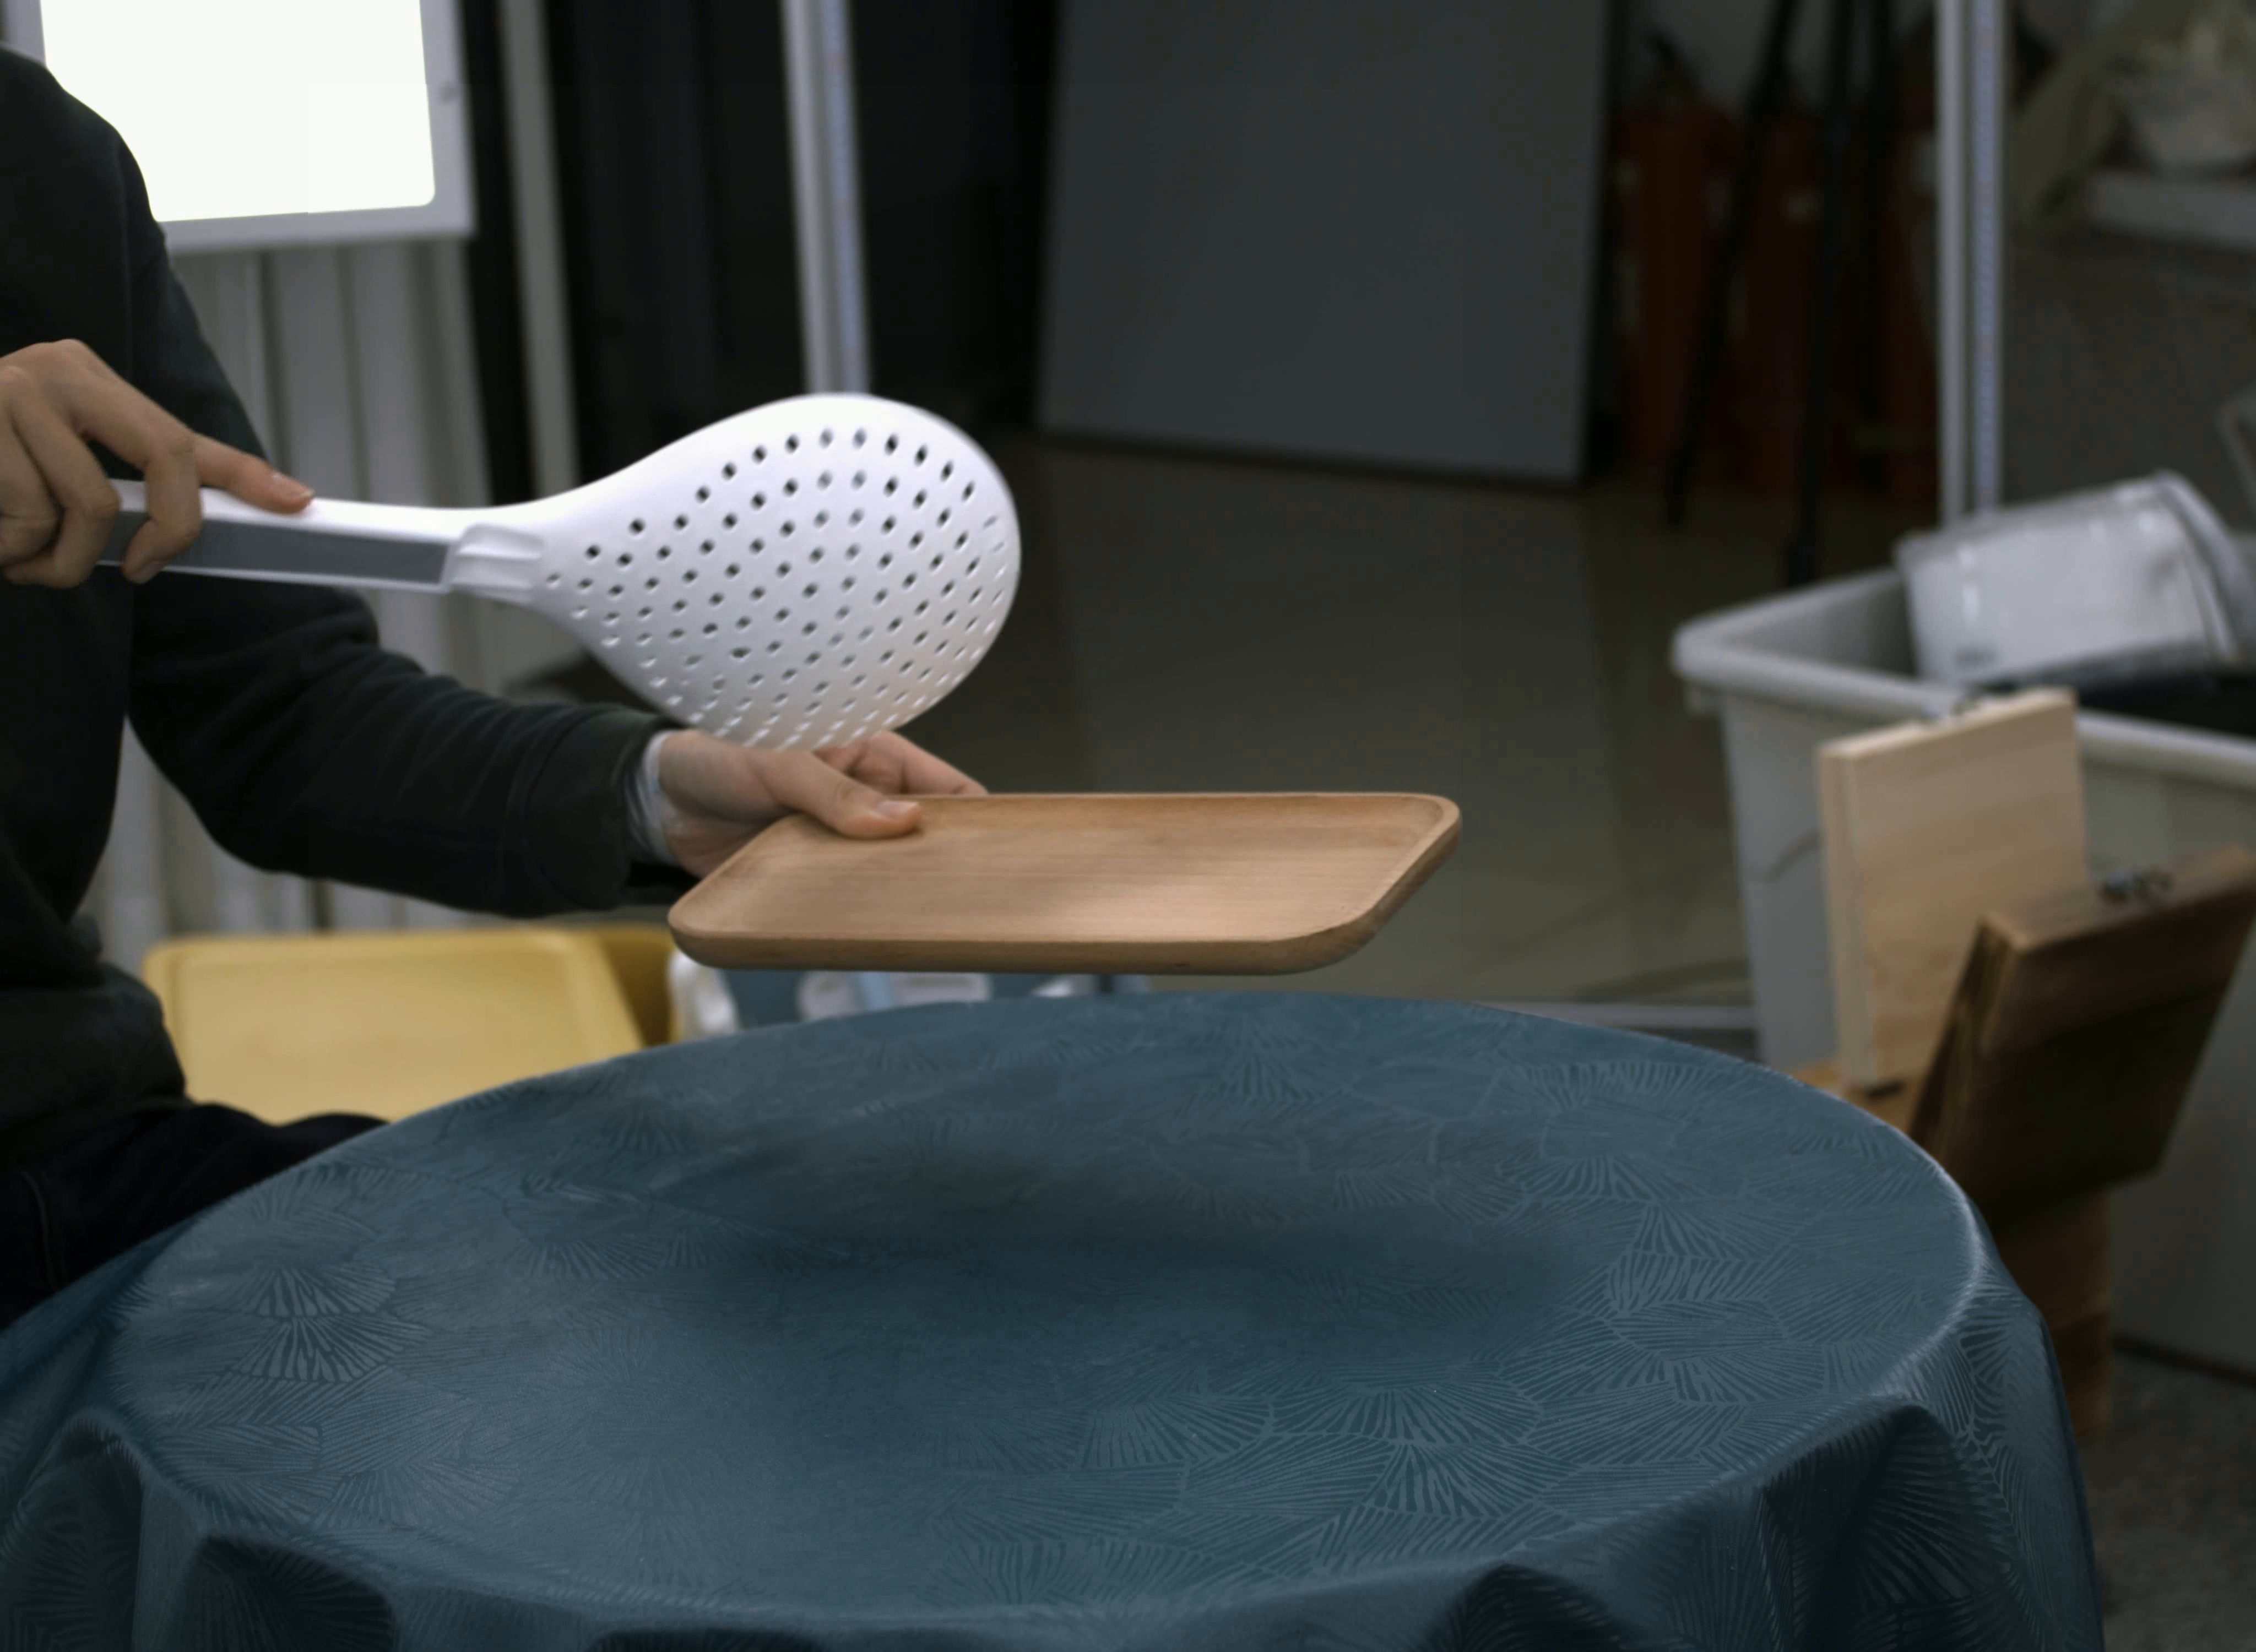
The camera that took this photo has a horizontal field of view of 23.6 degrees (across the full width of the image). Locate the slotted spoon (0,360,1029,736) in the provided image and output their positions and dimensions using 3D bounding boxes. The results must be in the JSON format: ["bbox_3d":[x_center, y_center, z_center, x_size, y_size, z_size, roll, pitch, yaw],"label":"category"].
[{"bbox_3d":[-0.197,-0.090,1.706,0.343,0.137,0.046,6,30,-13],"label":"slotted spoon"}]

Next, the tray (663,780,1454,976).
[{"bbox_3d":[-0.023,0.018,1.737,0.251,0.023,0.129,-2,19,28],"label":"tray"}]
